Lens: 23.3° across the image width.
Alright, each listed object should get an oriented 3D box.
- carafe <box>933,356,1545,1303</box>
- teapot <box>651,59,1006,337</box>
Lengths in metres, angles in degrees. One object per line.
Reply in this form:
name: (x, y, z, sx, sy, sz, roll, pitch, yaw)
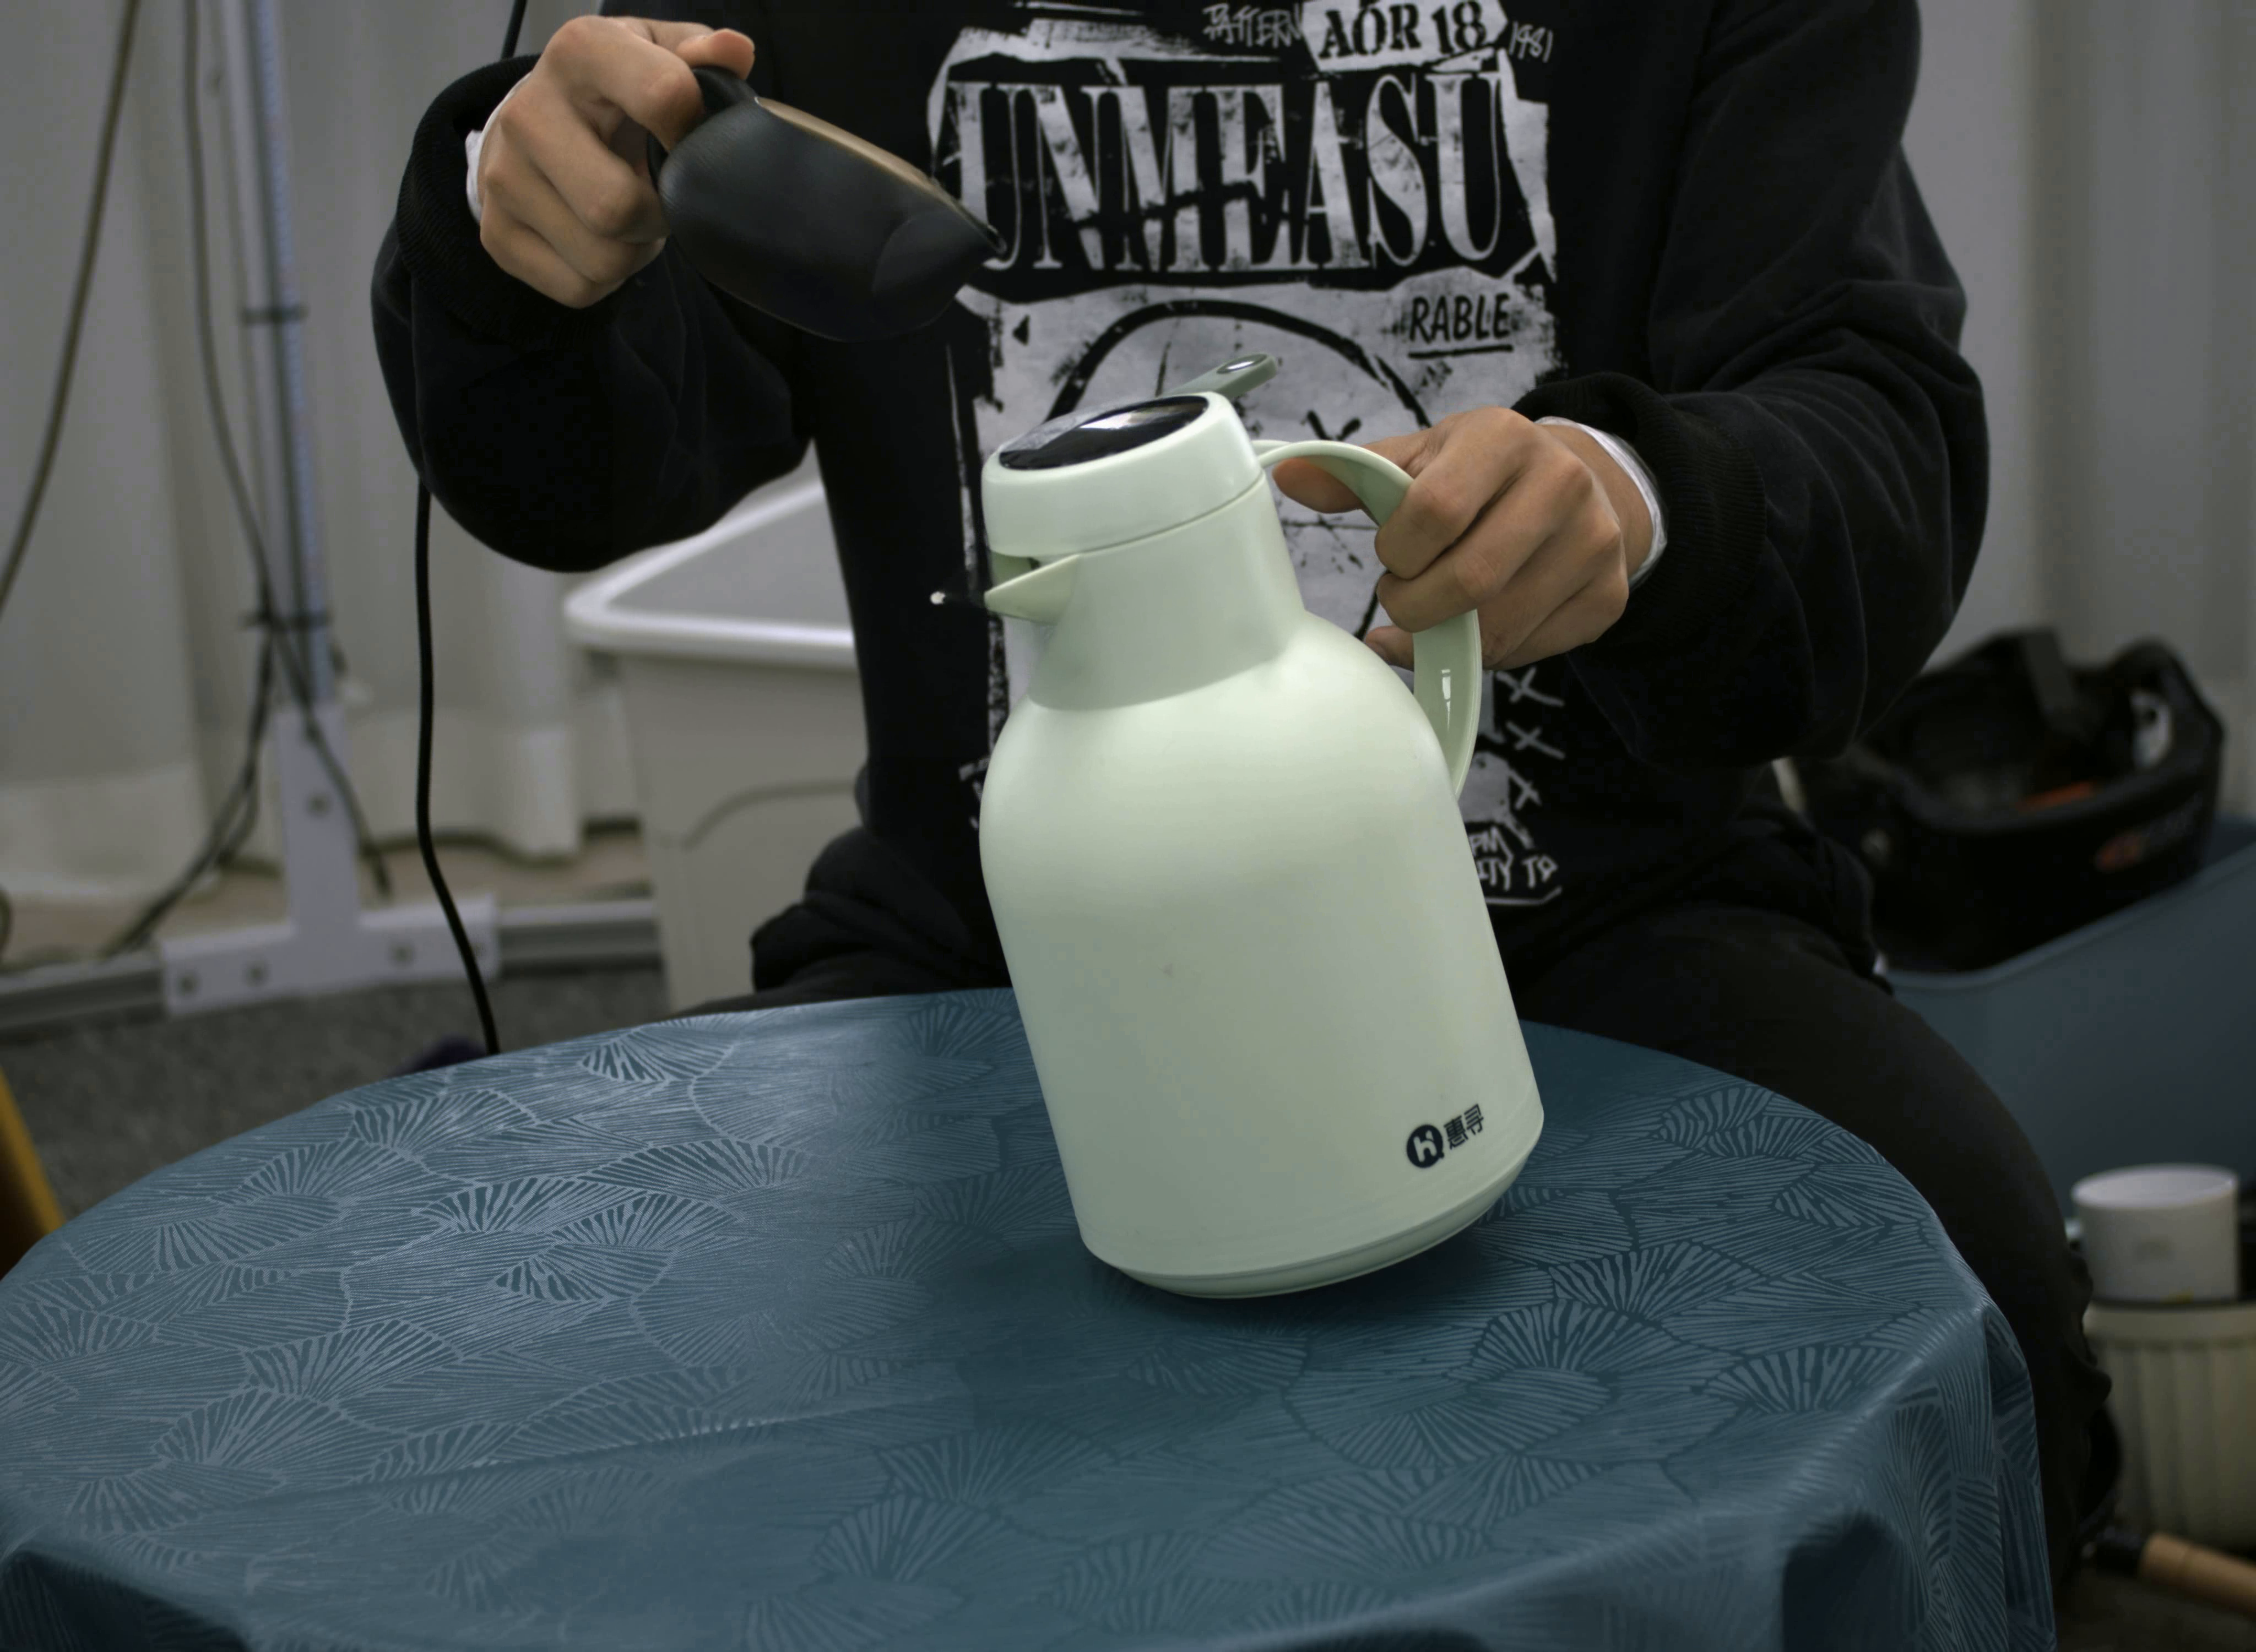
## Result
carafe: (0.037, -0.004, 1.623, 0.187, 0.256, 0.145, -24, 16, -37)
teapot: (-0.094, -0.180, 1.616, 0.134, 0.053, 0.090, 35, 13, 30)
